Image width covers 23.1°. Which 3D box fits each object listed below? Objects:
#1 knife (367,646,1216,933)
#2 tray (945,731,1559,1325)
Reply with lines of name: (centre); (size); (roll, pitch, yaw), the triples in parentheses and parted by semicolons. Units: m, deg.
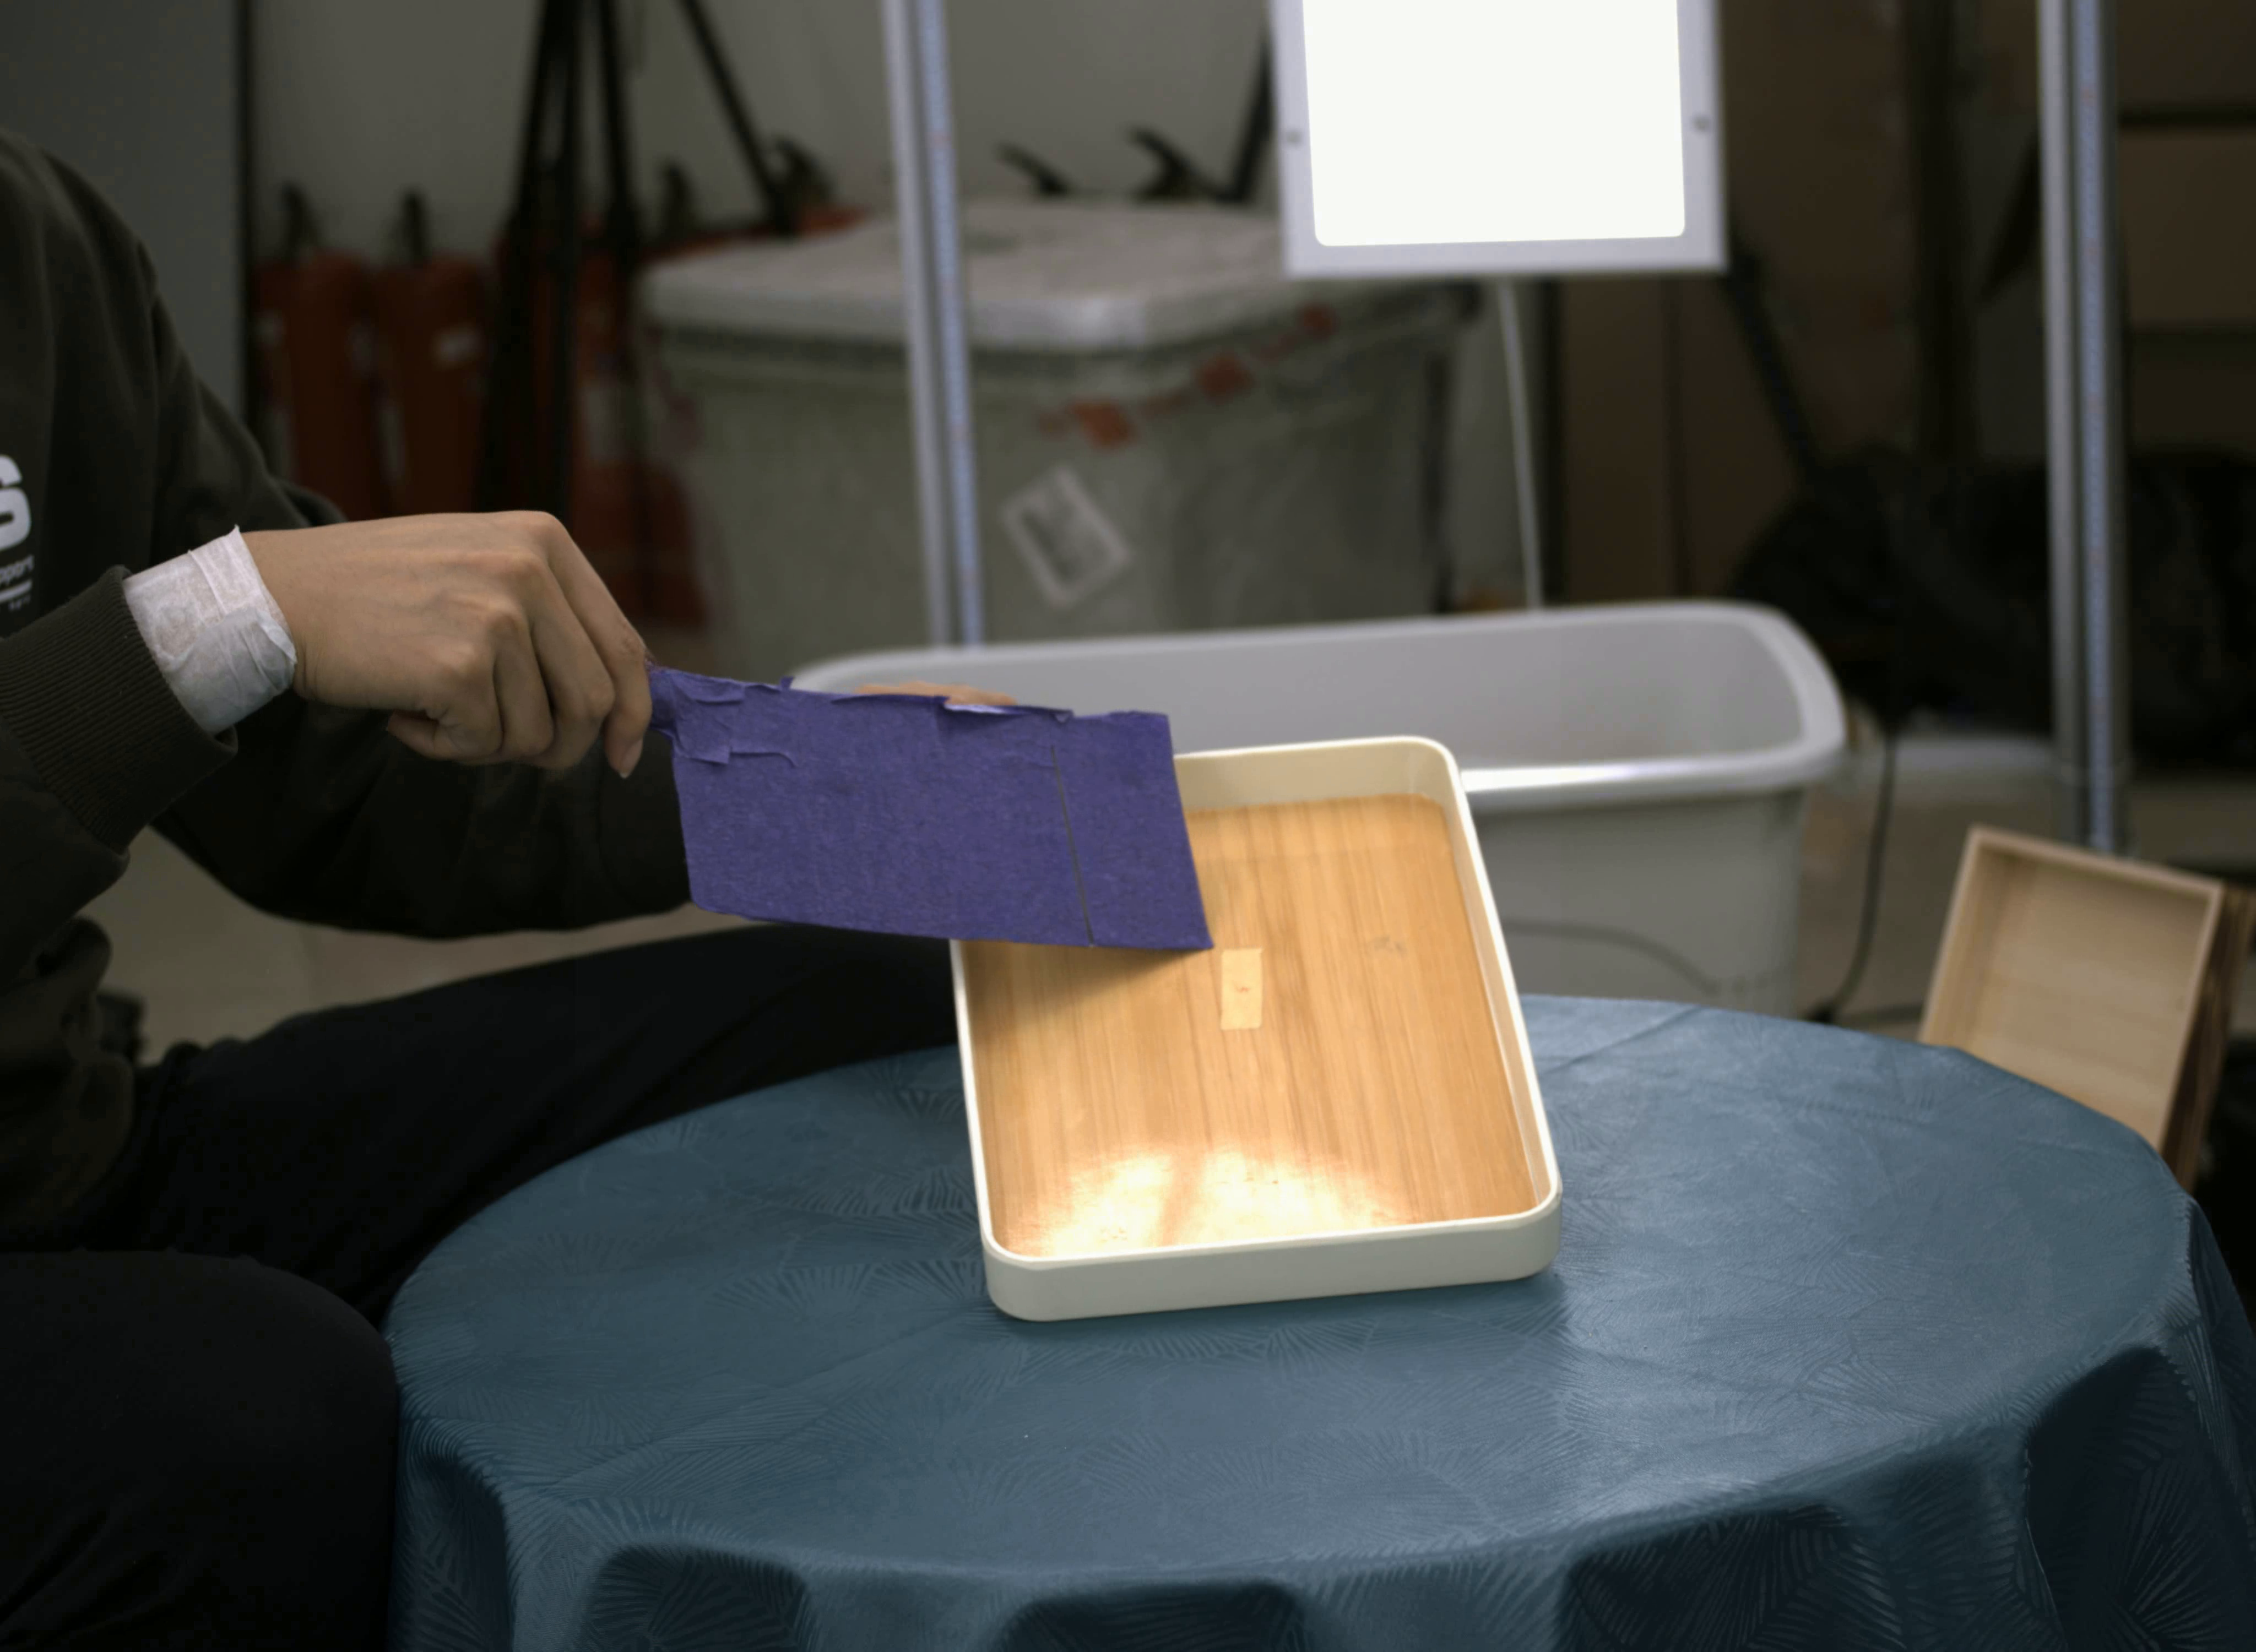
knife: (-0.106, -0.012, 1.879); (0.308, 0.104, 0.033); (3, -27, -28)
tray: (0.036, 0.063, 1.893); (0.191, 0.027, 0.300); (-6, 33, 0)
